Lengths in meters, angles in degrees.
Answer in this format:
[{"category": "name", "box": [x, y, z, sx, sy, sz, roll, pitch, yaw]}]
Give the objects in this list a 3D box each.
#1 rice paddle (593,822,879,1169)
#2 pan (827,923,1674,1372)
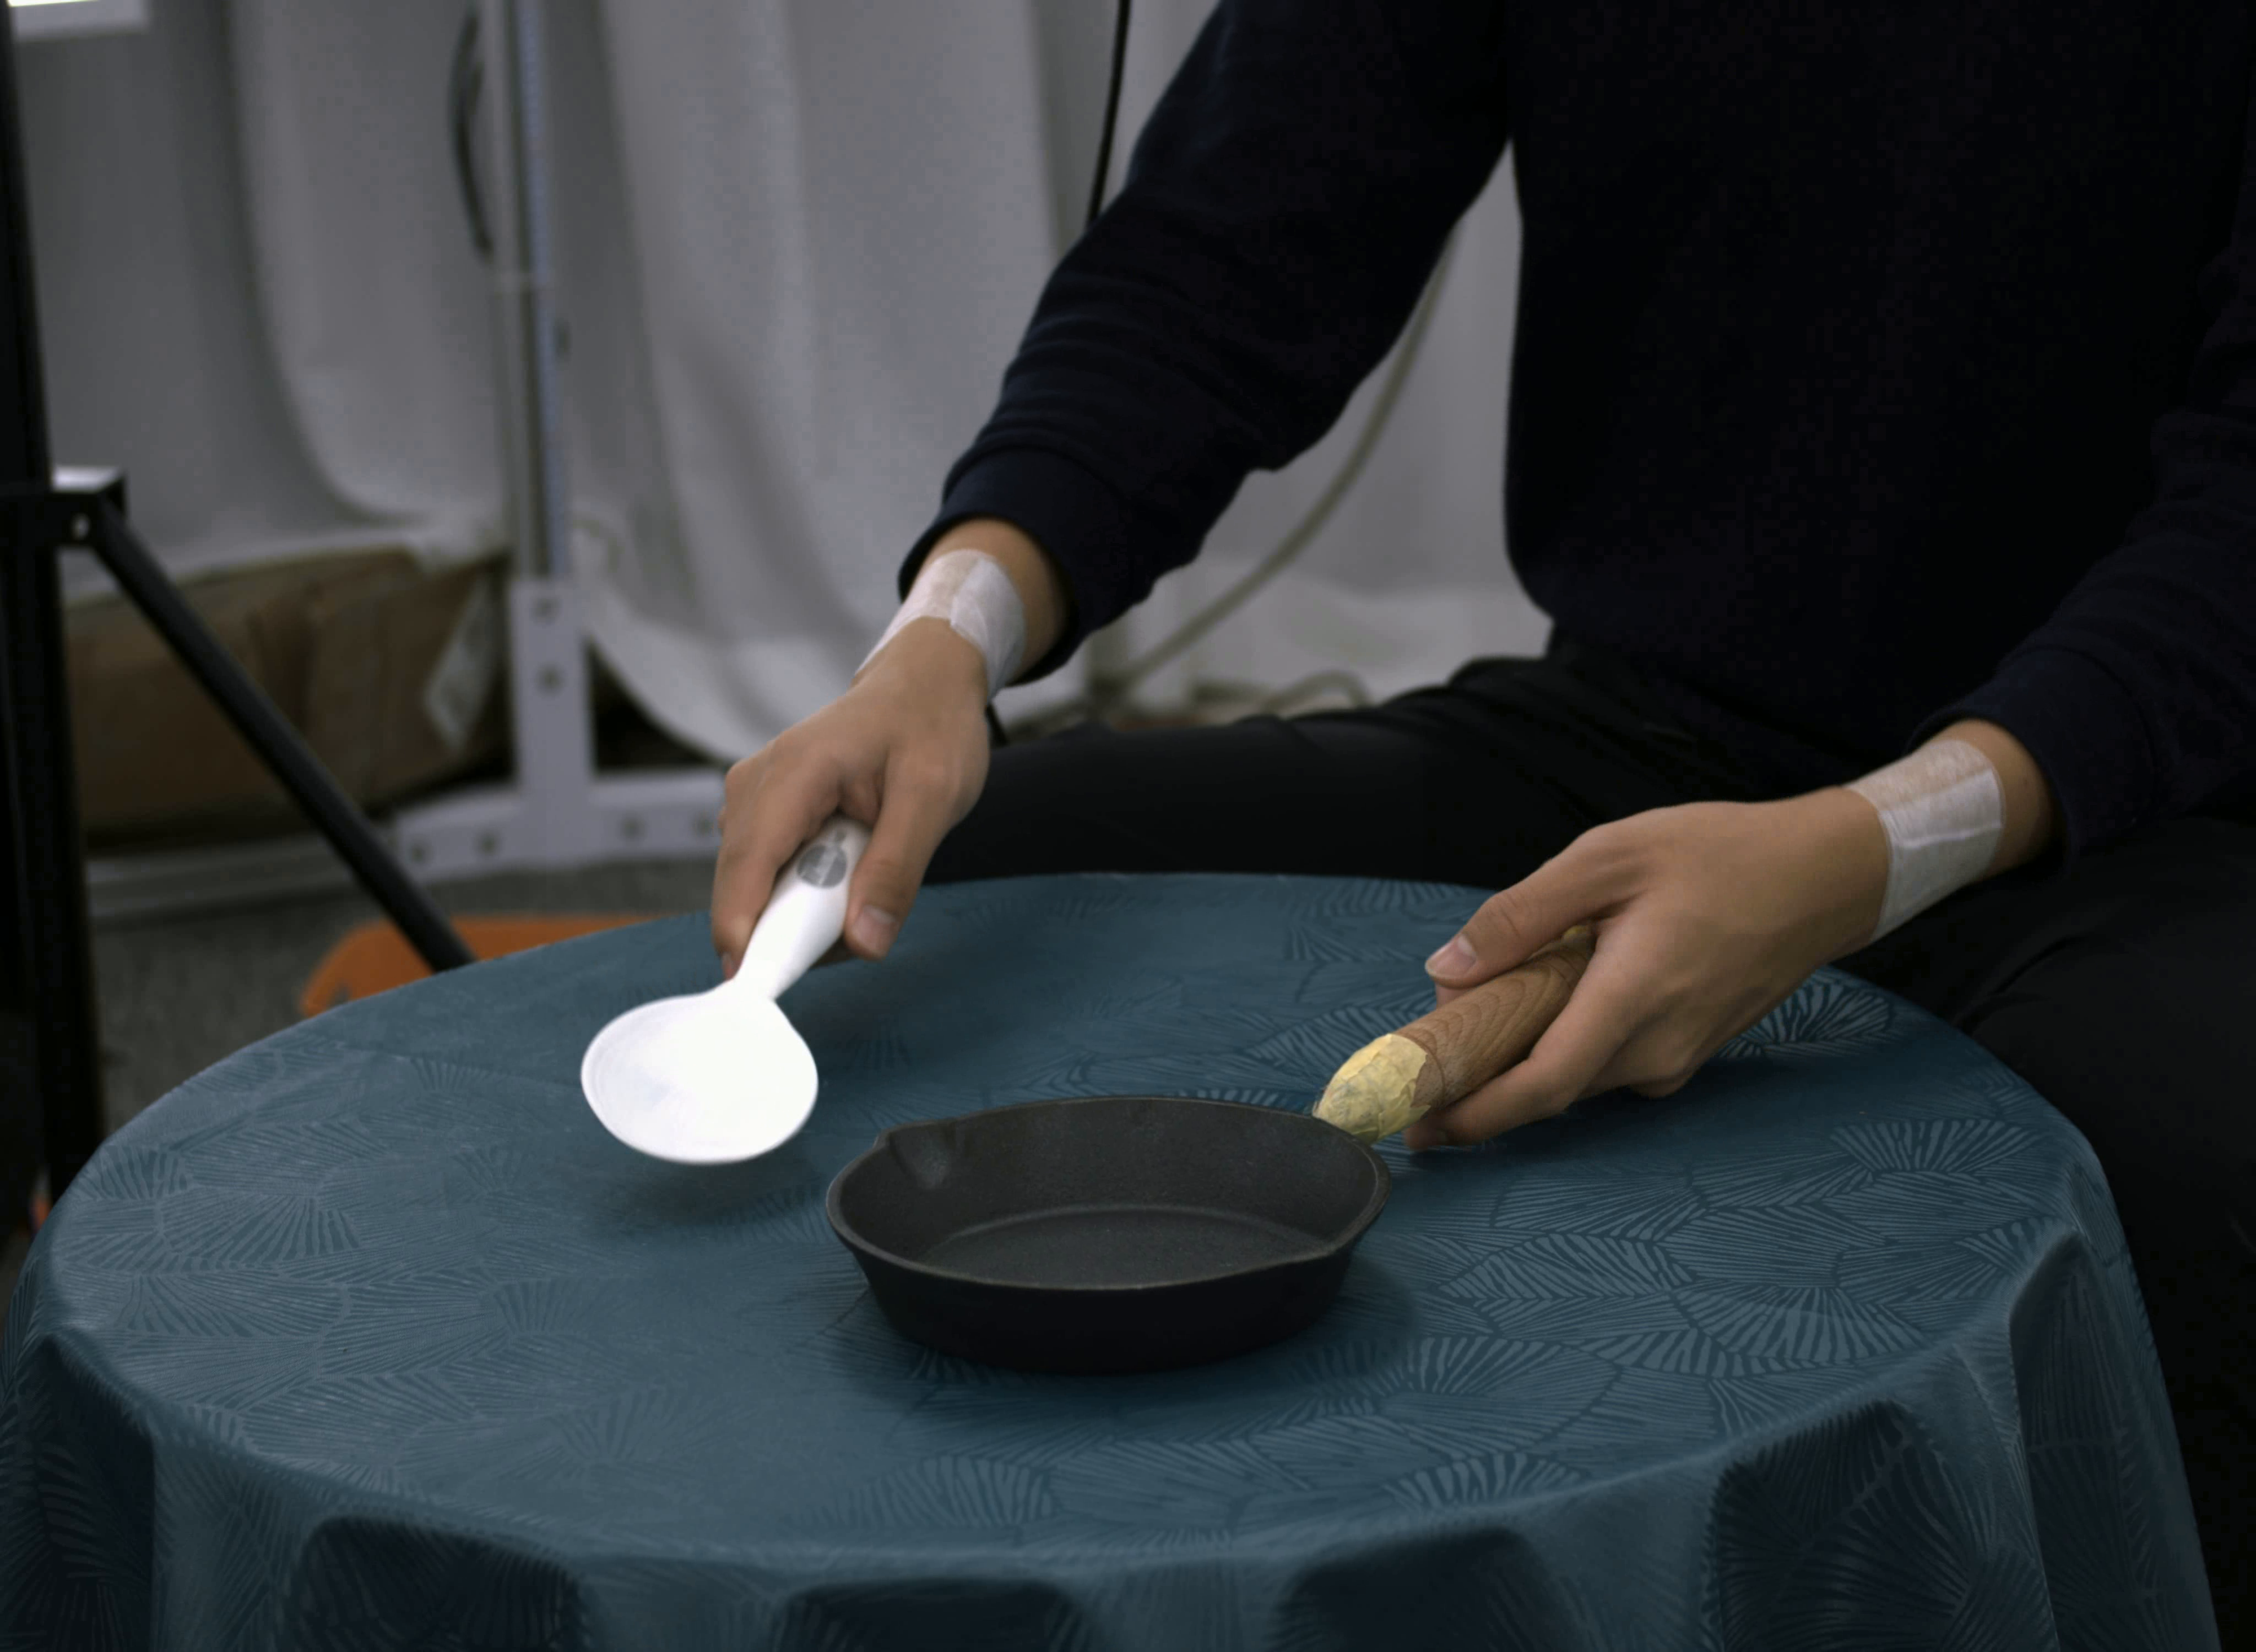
[{"category": "rice paddle", "box": [-0.113, 0.053, 1.635, 0.069, 0.029, 0.205, 15, 26, 5]}, {"category": "pan", "box": [0.054, 0.088, 1.526, 0.317, 0.049, 0.173, -18, 22, -41]}]
